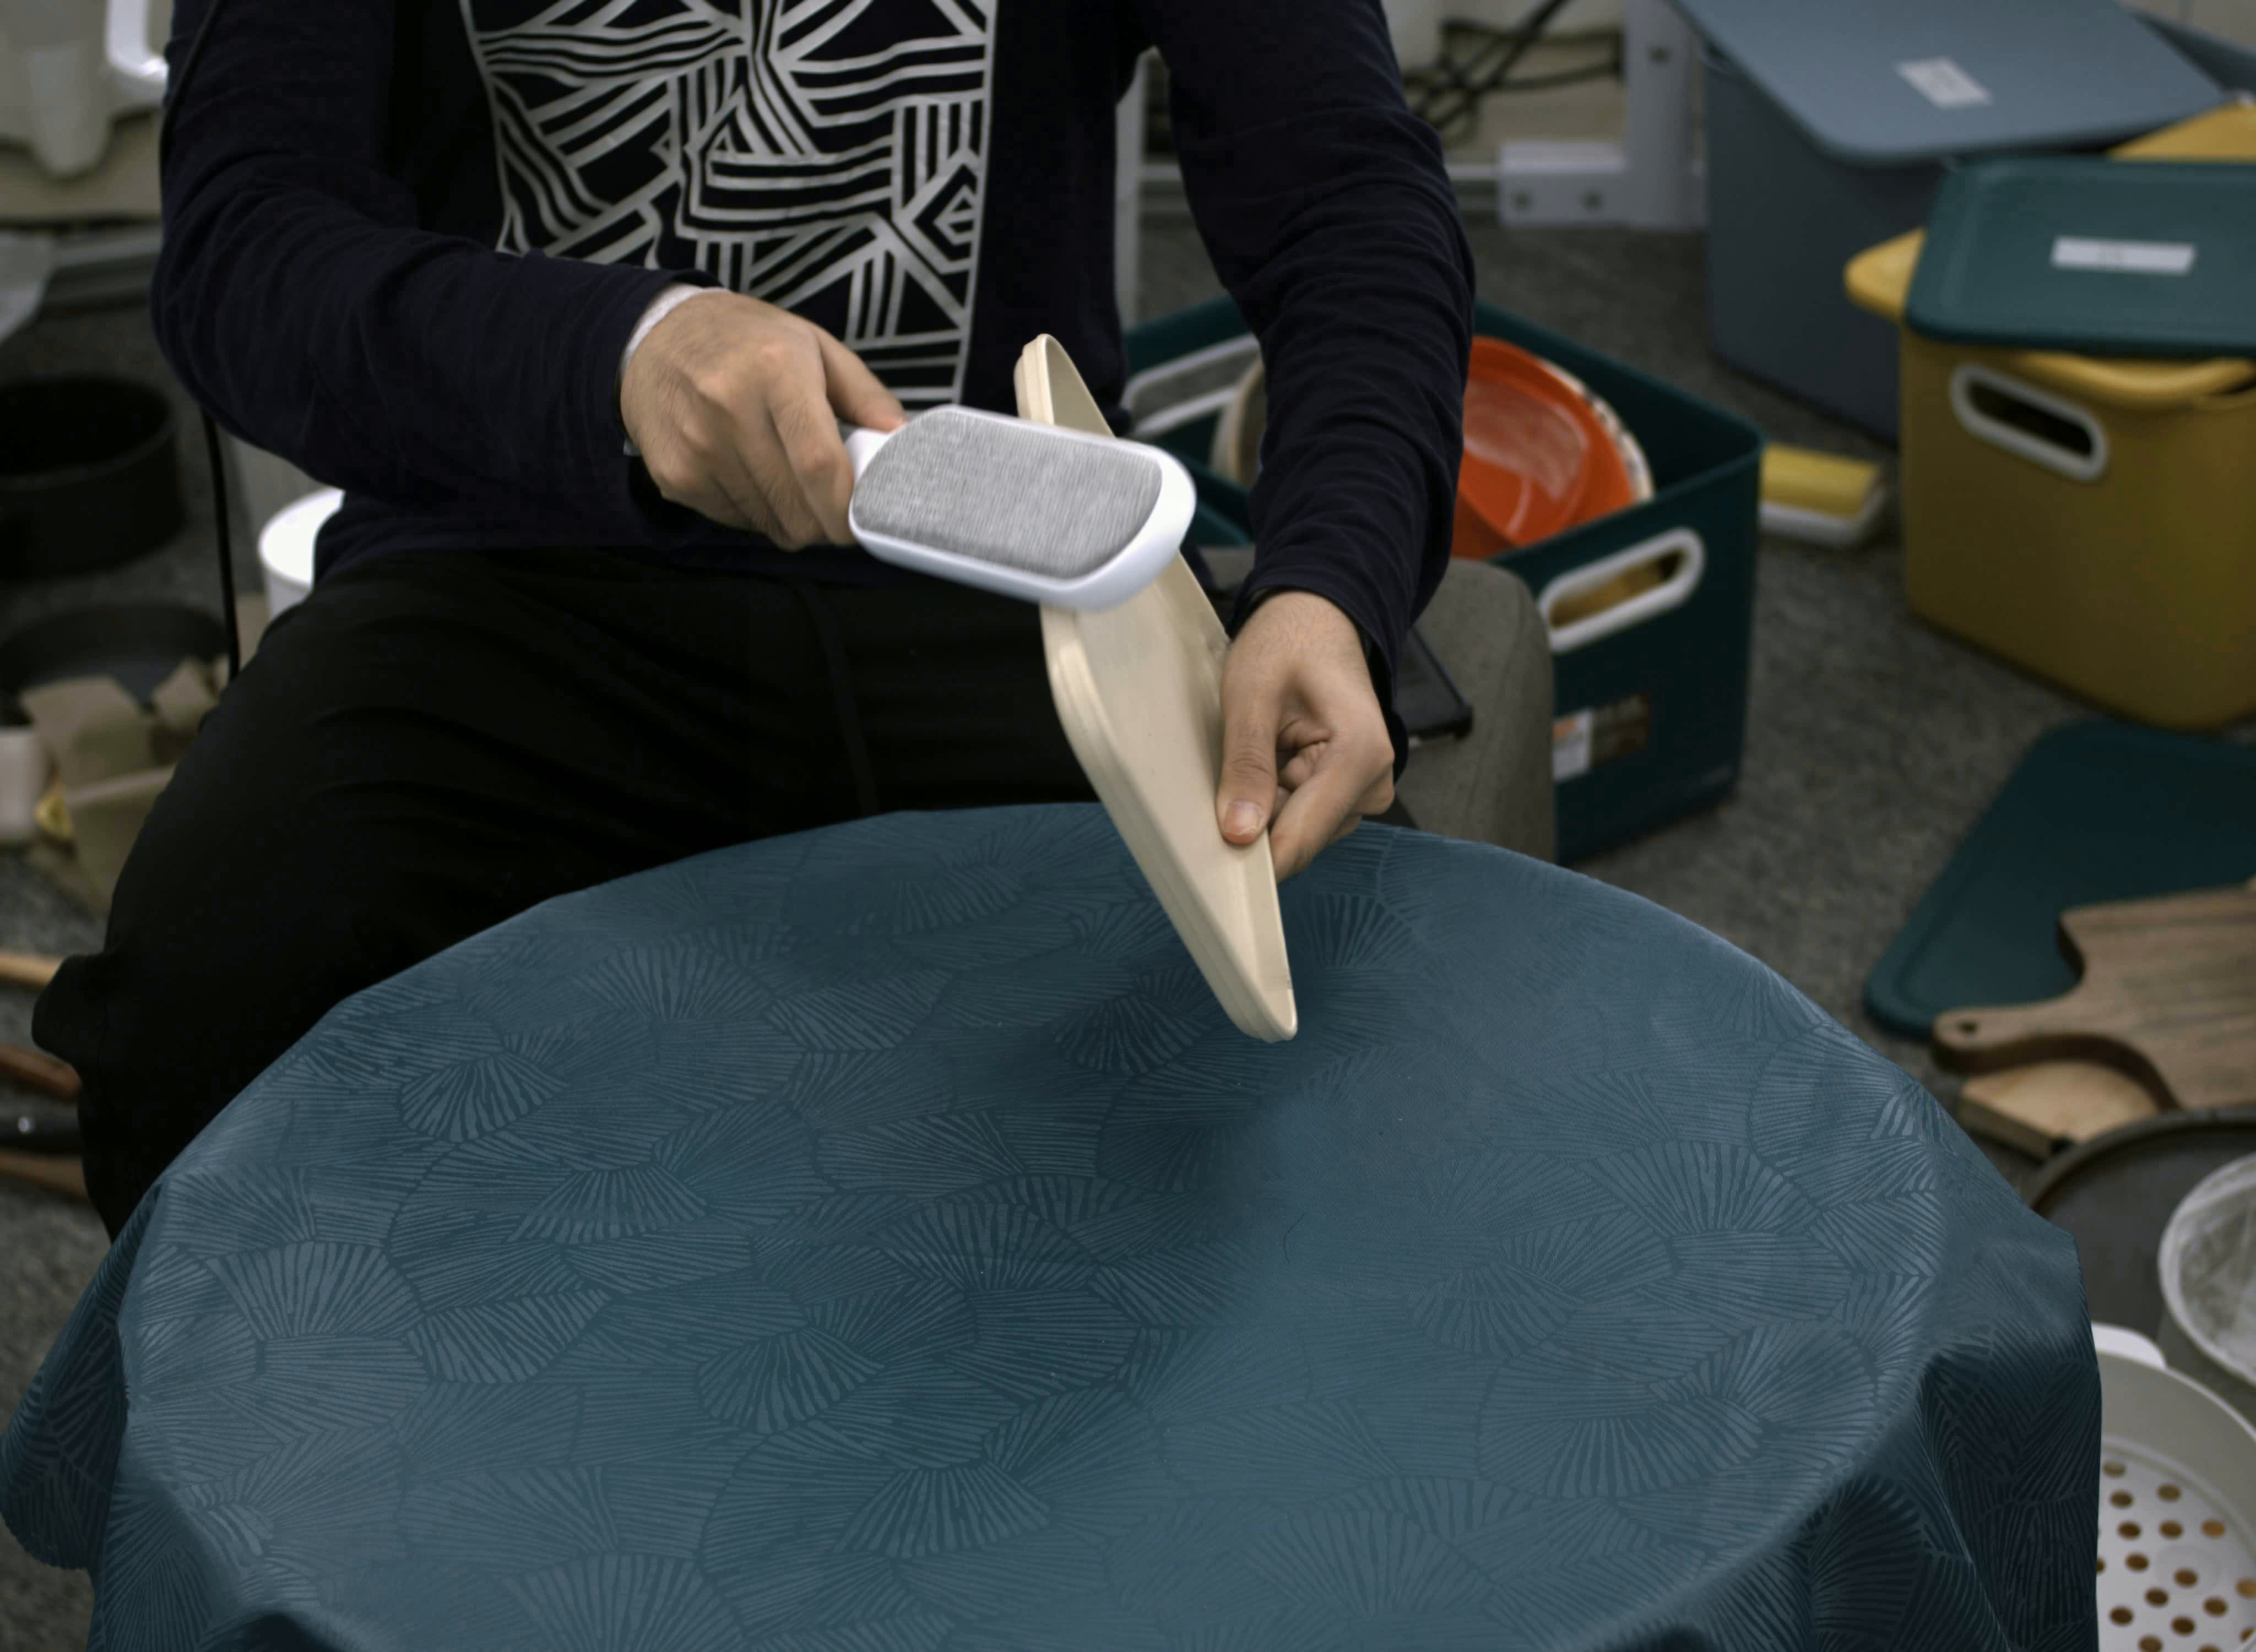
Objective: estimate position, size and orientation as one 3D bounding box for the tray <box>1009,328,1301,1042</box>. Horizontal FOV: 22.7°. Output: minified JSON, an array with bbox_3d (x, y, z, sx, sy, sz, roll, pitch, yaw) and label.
[{"bbox_3d":[0.006,-0.047,1.868,0.017,0.169,0.244,-24,34,12],"label":"tray"}]

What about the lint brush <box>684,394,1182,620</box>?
[{"bbox_3d":[-0.070,-0.114,1.854,0.060,0.021,0.308,-58,32,-8],"label":"lint brush"}]
